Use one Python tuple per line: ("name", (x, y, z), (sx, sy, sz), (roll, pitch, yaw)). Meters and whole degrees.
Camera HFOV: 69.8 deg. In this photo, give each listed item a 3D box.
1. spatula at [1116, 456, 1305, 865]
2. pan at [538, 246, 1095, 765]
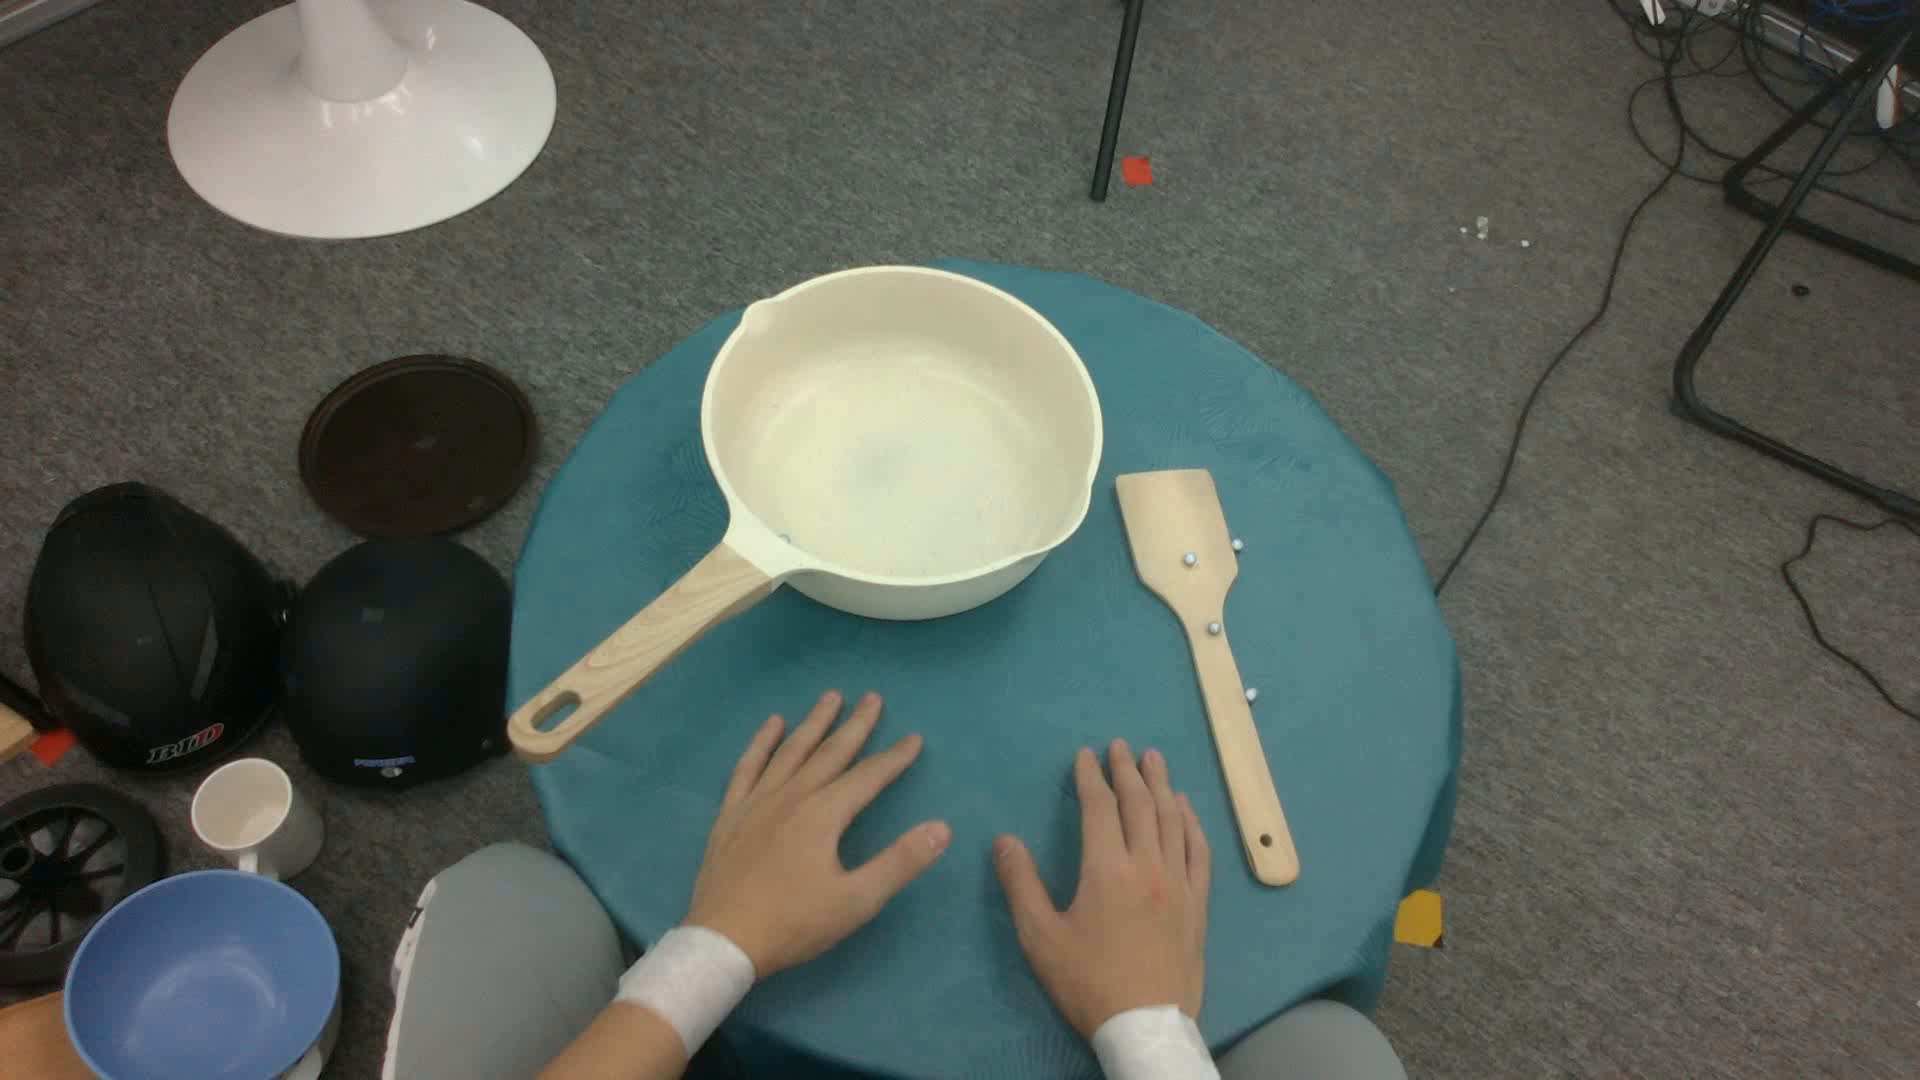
("spatula", (0.167, 0.068, 0.883), (0.072, 0.010, 0.294), (-6, 58, -10))
("pan", (-0.094, -0.014, 0.858), (0.263, 0.101, 0.437), (34, 61, 14))
